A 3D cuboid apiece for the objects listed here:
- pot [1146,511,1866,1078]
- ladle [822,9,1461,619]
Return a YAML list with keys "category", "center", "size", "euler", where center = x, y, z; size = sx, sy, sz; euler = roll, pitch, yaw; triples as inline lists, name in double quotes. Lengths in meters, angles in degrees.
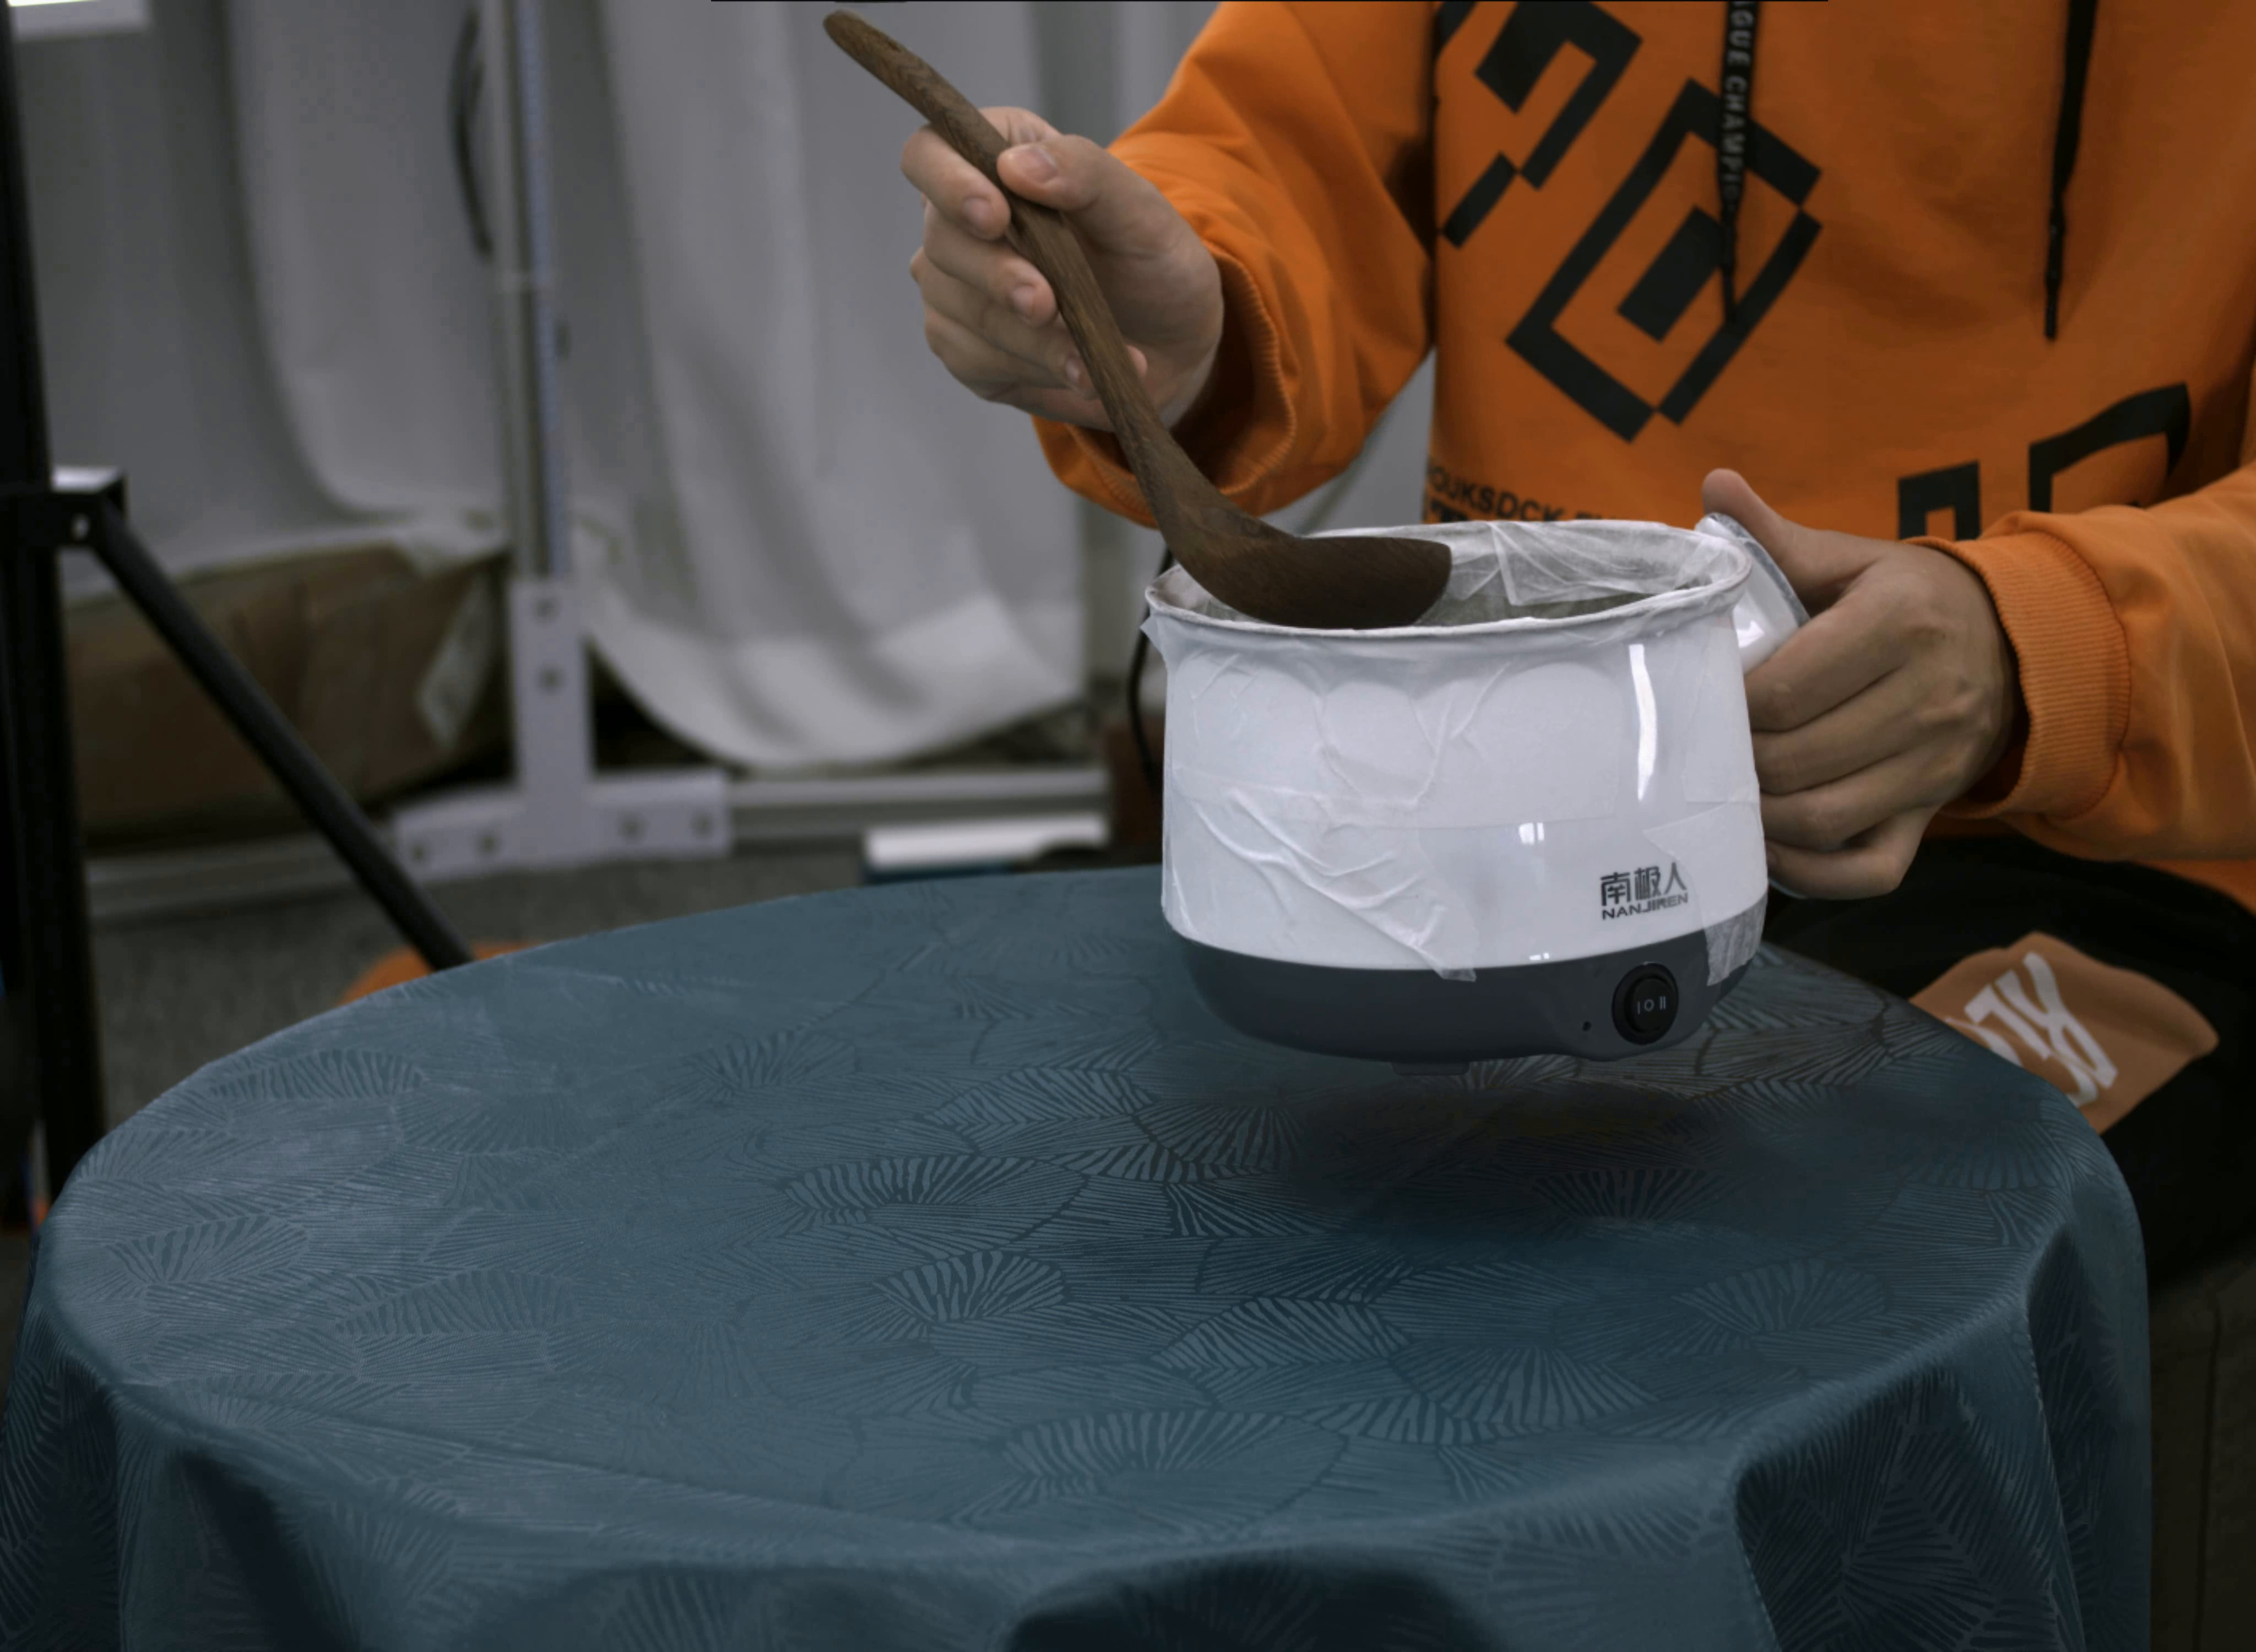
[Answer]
- category: "pot"
  center: [0.119, -0.015, 1.563]
  size: [0.228, 0.137, 0.182]
  euler: [-11, 14, -31]
- category: "ladle"
  center: [0.002, -0.160, 1.563]
  size: [0.074, 0.072, 0.279]
  euler: [12, 40, -57]
